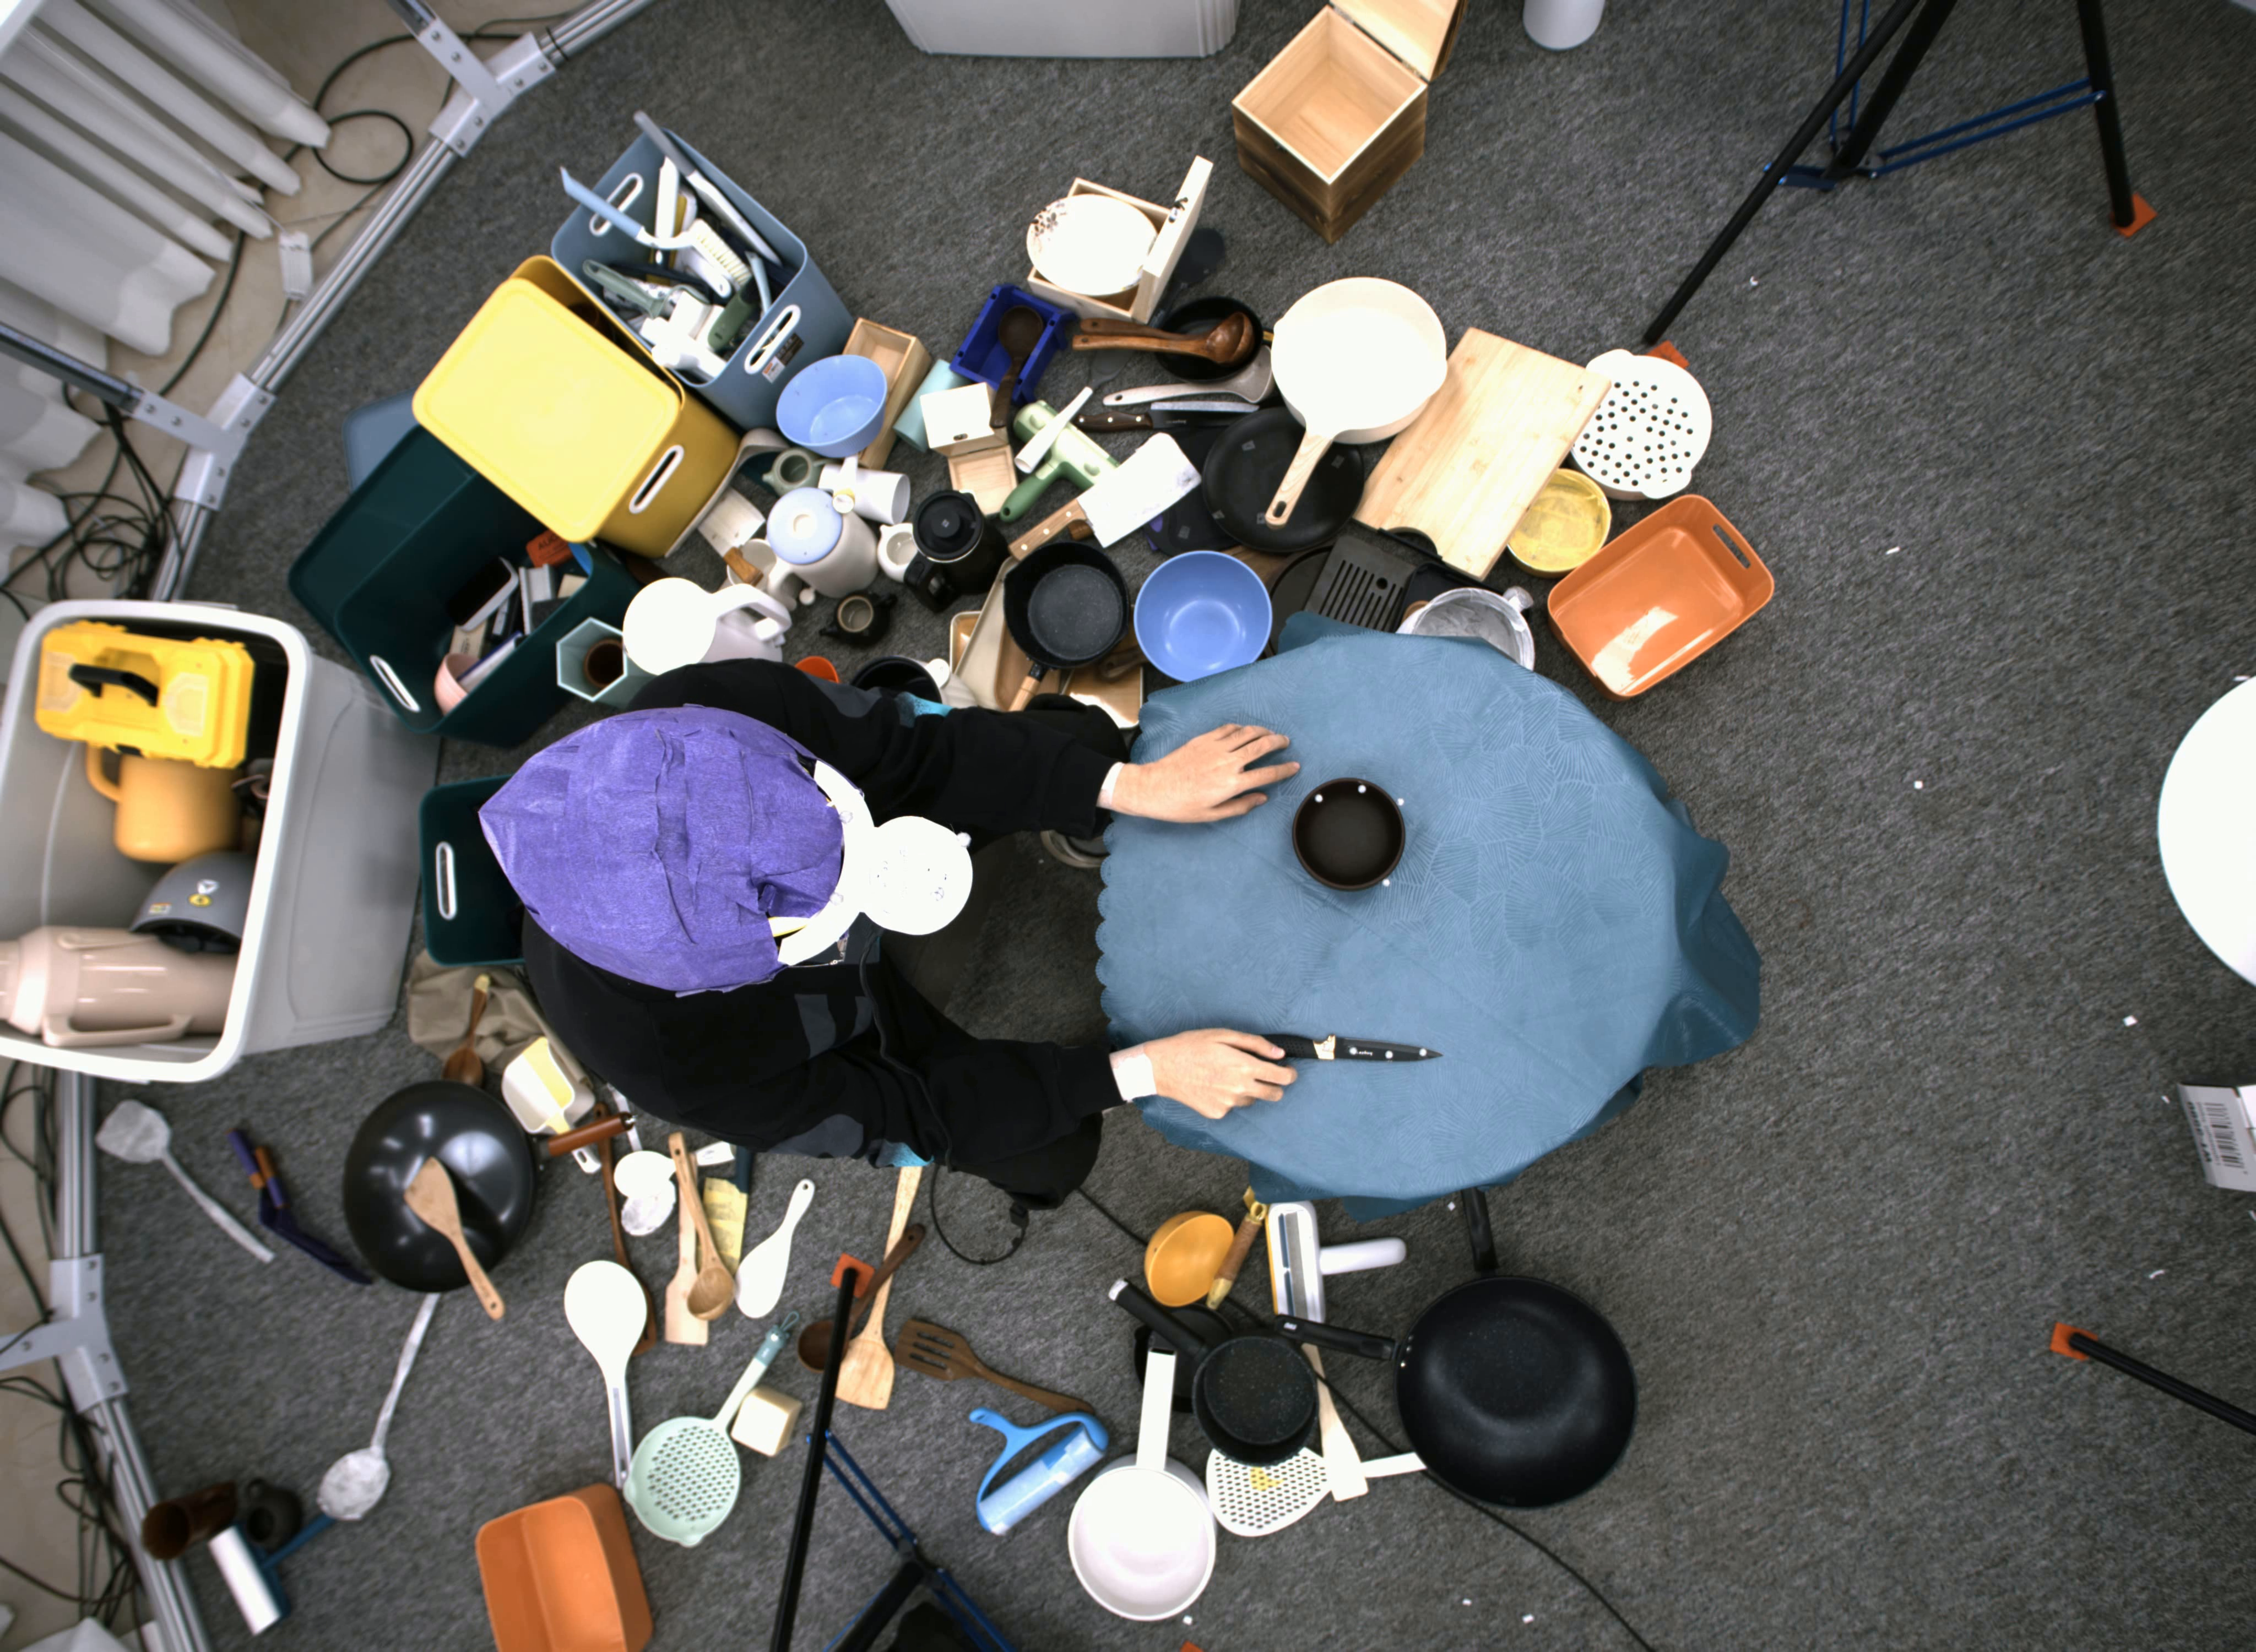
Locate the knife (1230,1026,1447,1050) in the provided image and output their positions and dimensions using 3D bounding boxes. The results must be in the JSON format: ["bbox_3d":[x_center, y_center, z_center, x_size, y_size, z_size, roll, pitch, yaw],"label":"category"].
[{"bbox_3d":[0.219,0.223,1.447,0.226,0.027,0.017,3,61,9],"label":"knife"}]

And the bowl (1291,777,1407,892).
[{"bbox_3d":[0.230,0.010,1.433,0.118,0.070,0.117,-1,85,12],"label":"bowl"}]
